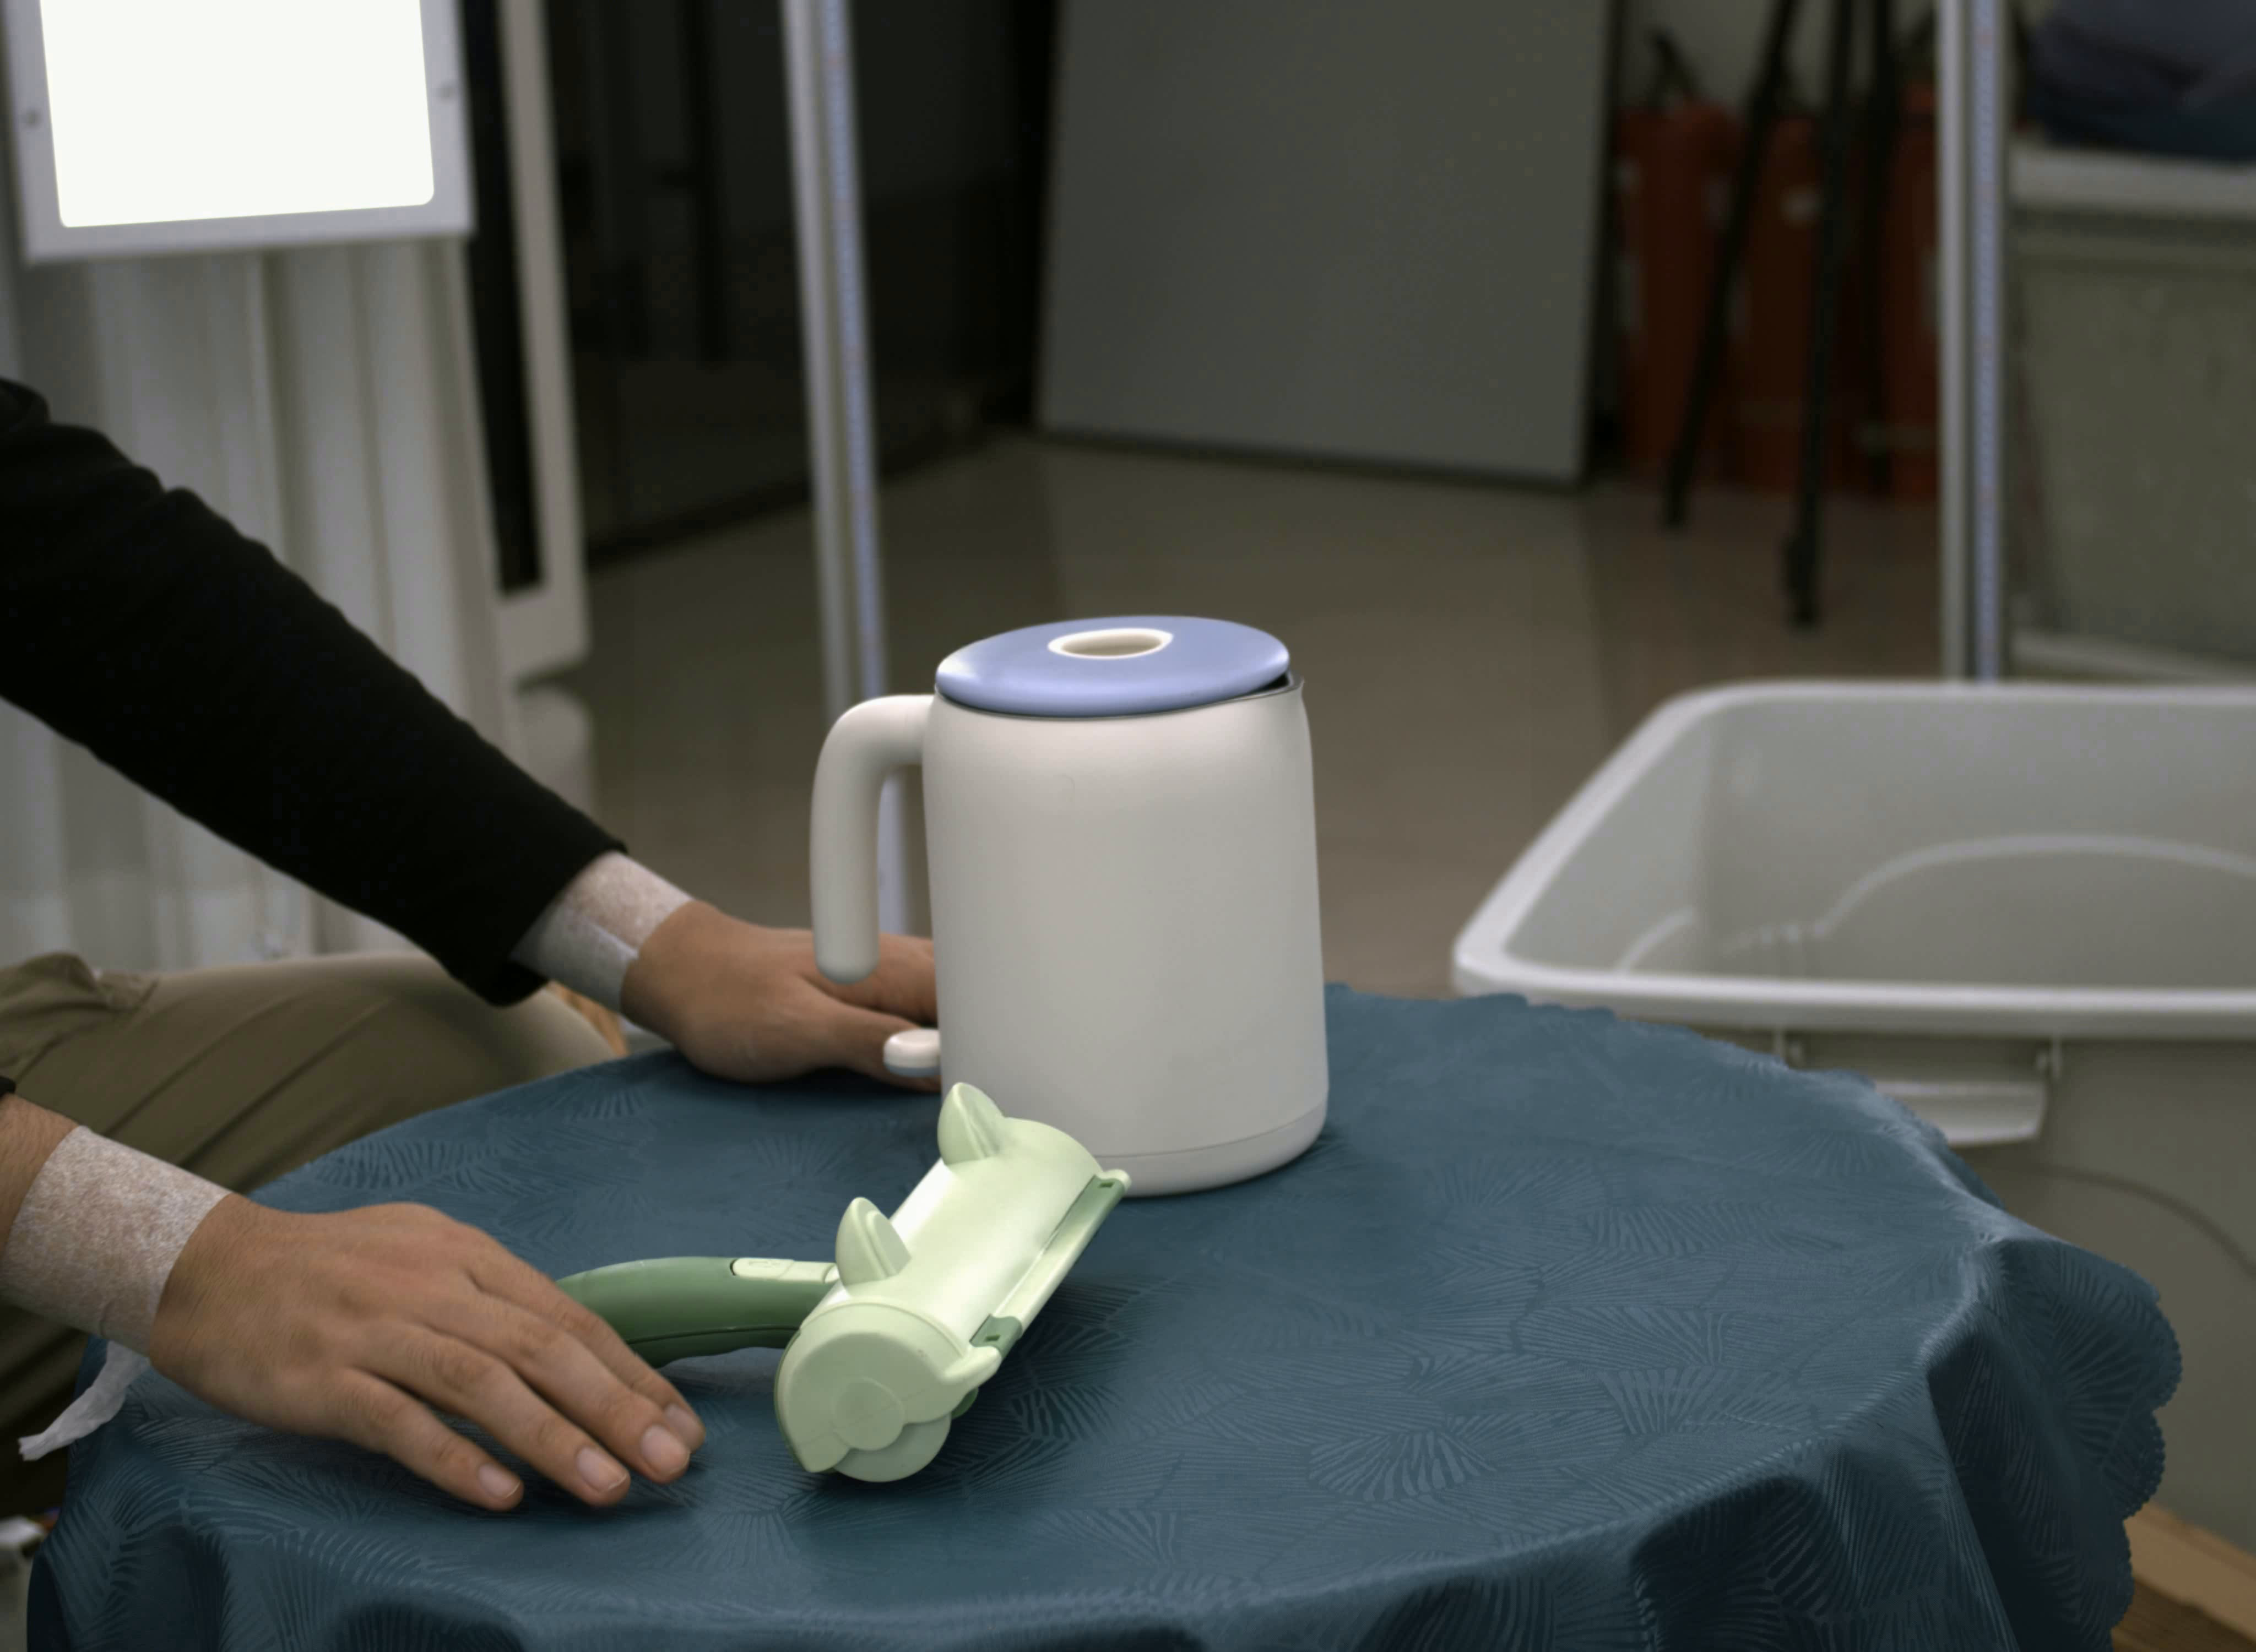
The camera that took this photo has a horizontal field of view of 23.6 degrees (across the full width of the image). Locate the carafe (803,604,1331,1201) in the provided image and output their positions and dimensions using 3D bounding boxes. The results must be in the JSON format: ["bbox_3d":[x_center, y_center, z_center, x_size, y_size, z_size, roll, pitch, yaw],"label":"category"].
[{"bbox_3d":[-0.023,0.024,1.808,0.191,0.184,0.130,0,13,25],"label":"carafe"}]

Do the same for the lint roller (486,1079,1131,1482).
[{"bbox_3d":[-0.106,0.129,1.607,0.182,0.083,0.197,2,13,14],"label":"lint roller"}]
